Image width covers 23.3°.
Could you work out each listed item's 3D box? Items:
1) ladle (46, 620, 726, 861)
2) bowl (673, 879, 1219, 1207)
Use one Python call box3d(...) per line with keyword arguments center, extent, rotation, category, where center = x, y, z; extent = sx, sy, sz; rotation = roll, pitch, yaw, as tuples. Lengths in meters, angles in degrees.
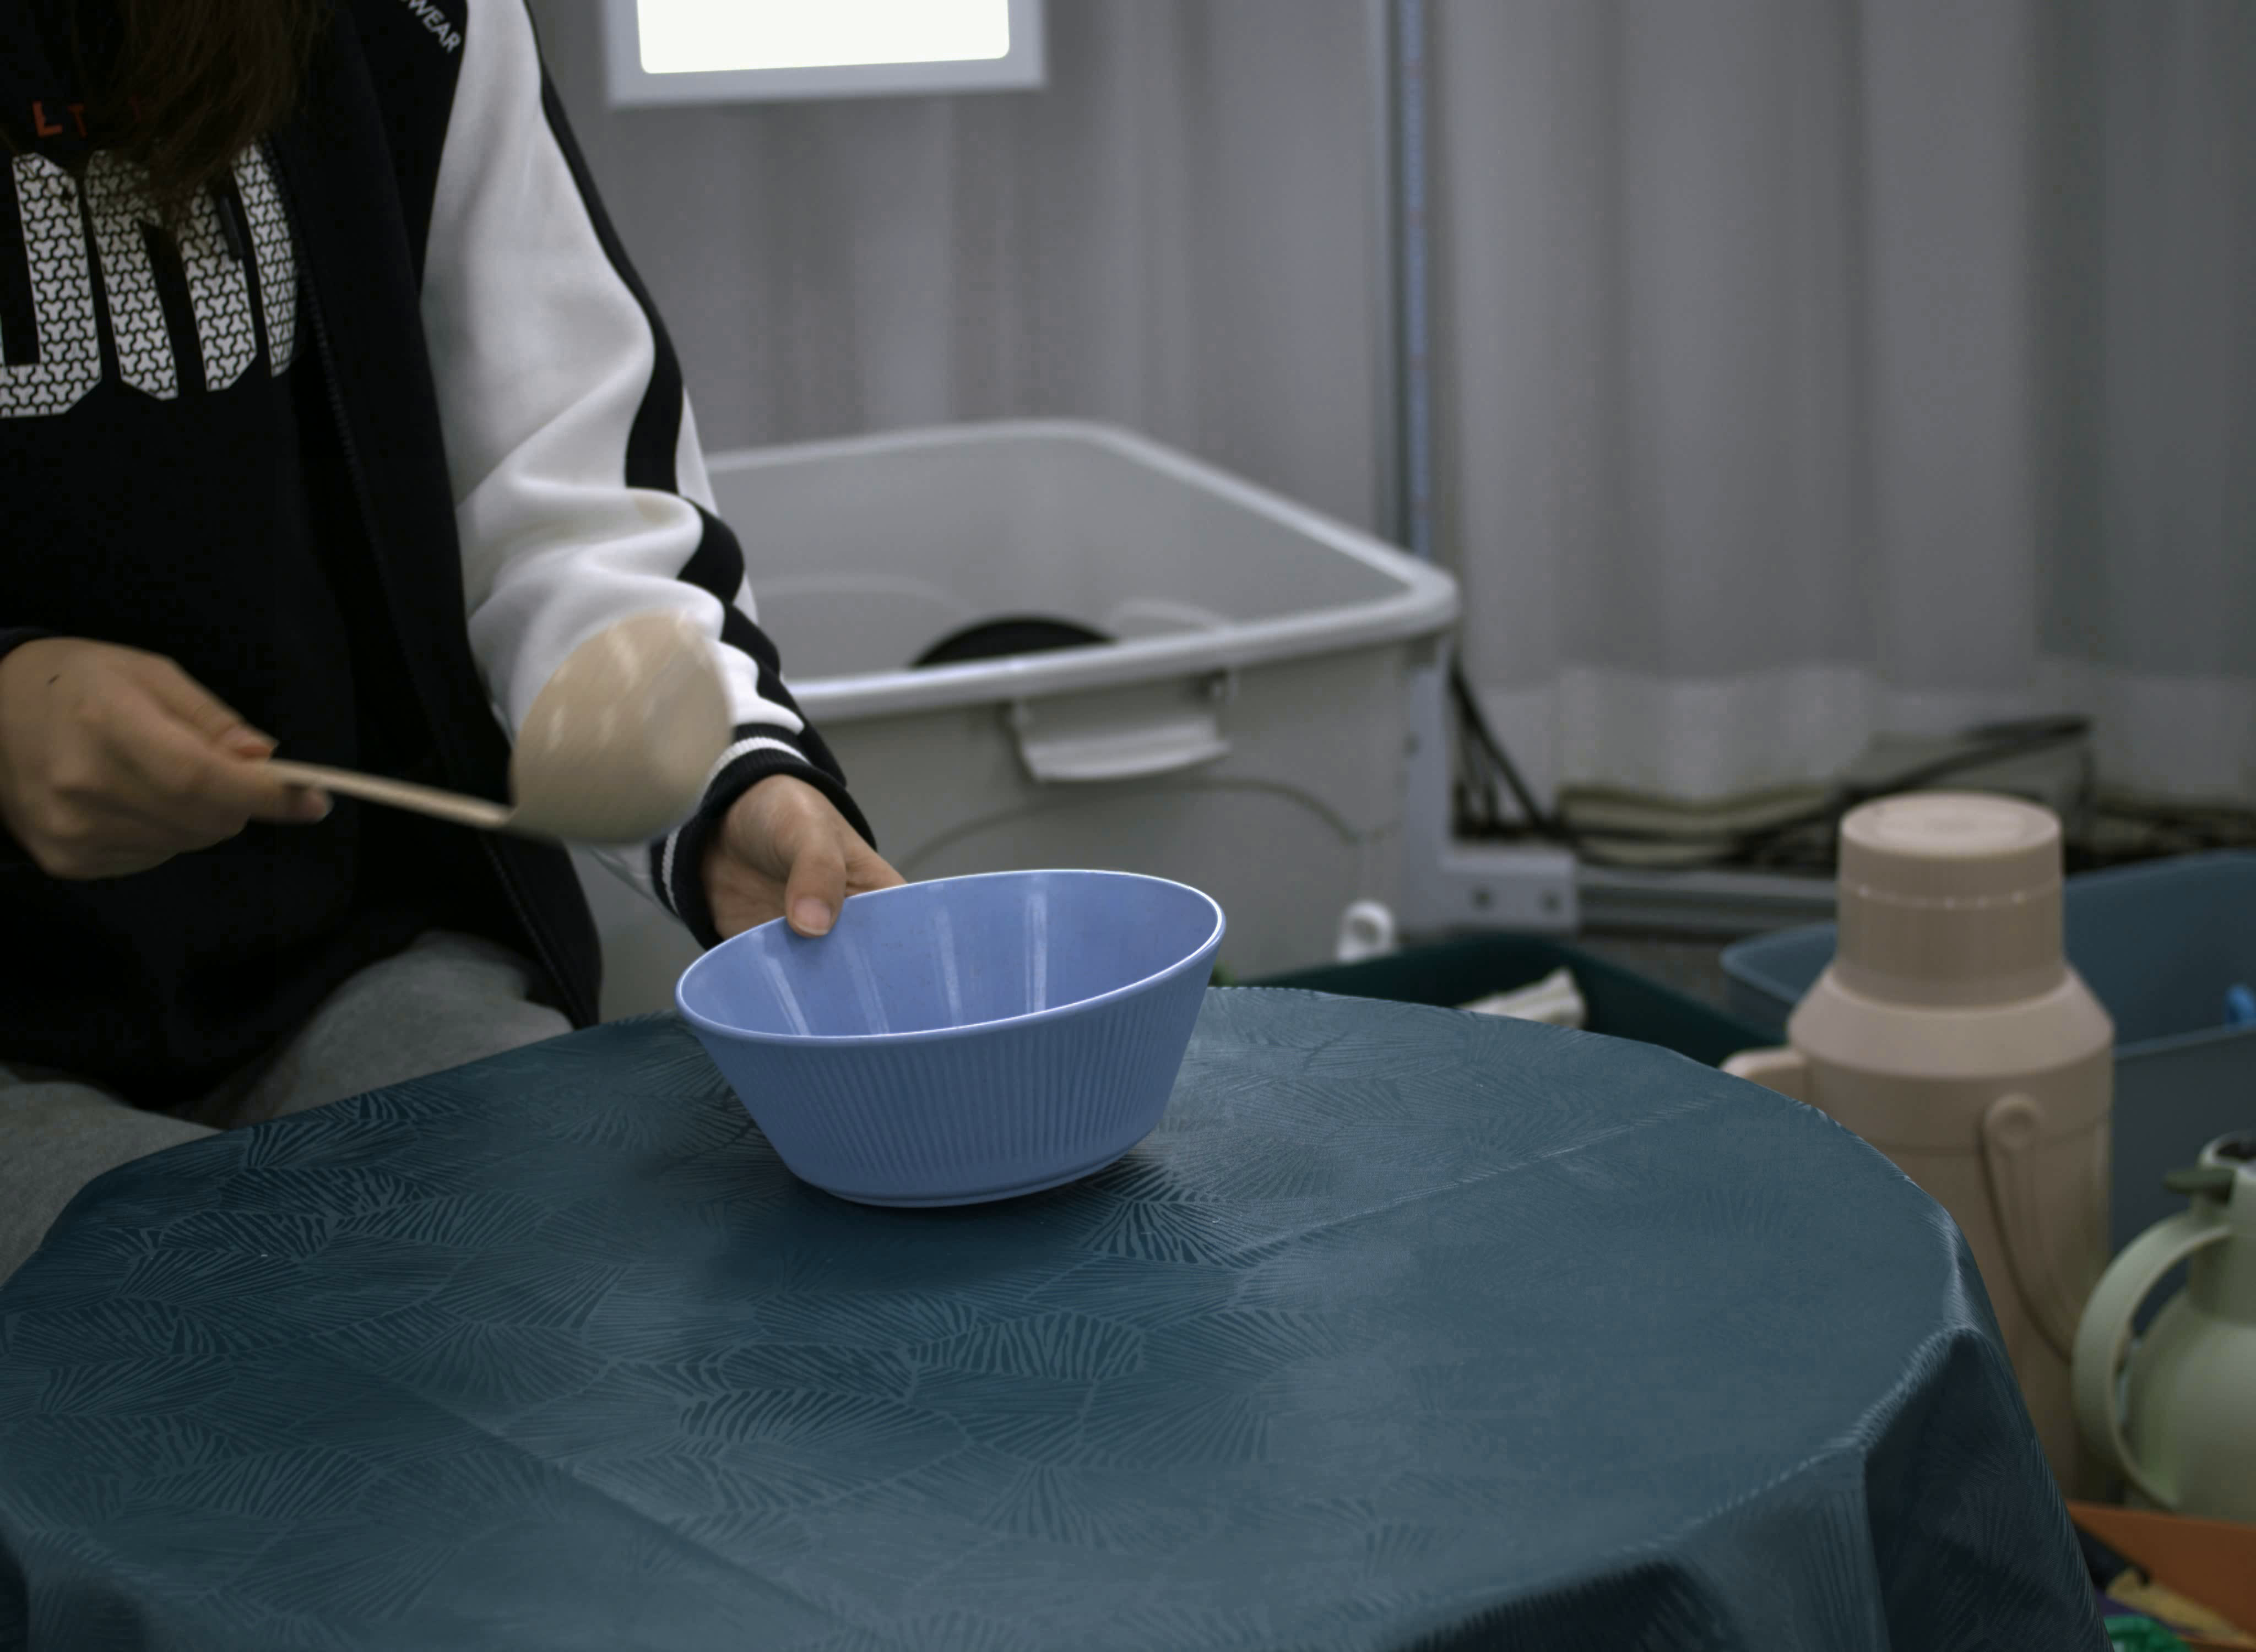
box3d(center=(-0.230, -0.035, 1.660), extent=(0.255, 0.073, 0.071), rotation=(7, -5, 36), category="ladle")
box3d(center=(-0.054, 0.072, 1.738), extent=(0.175, 0.070, 0.177), rotation=(-7, 14, 1), category="bowl")
